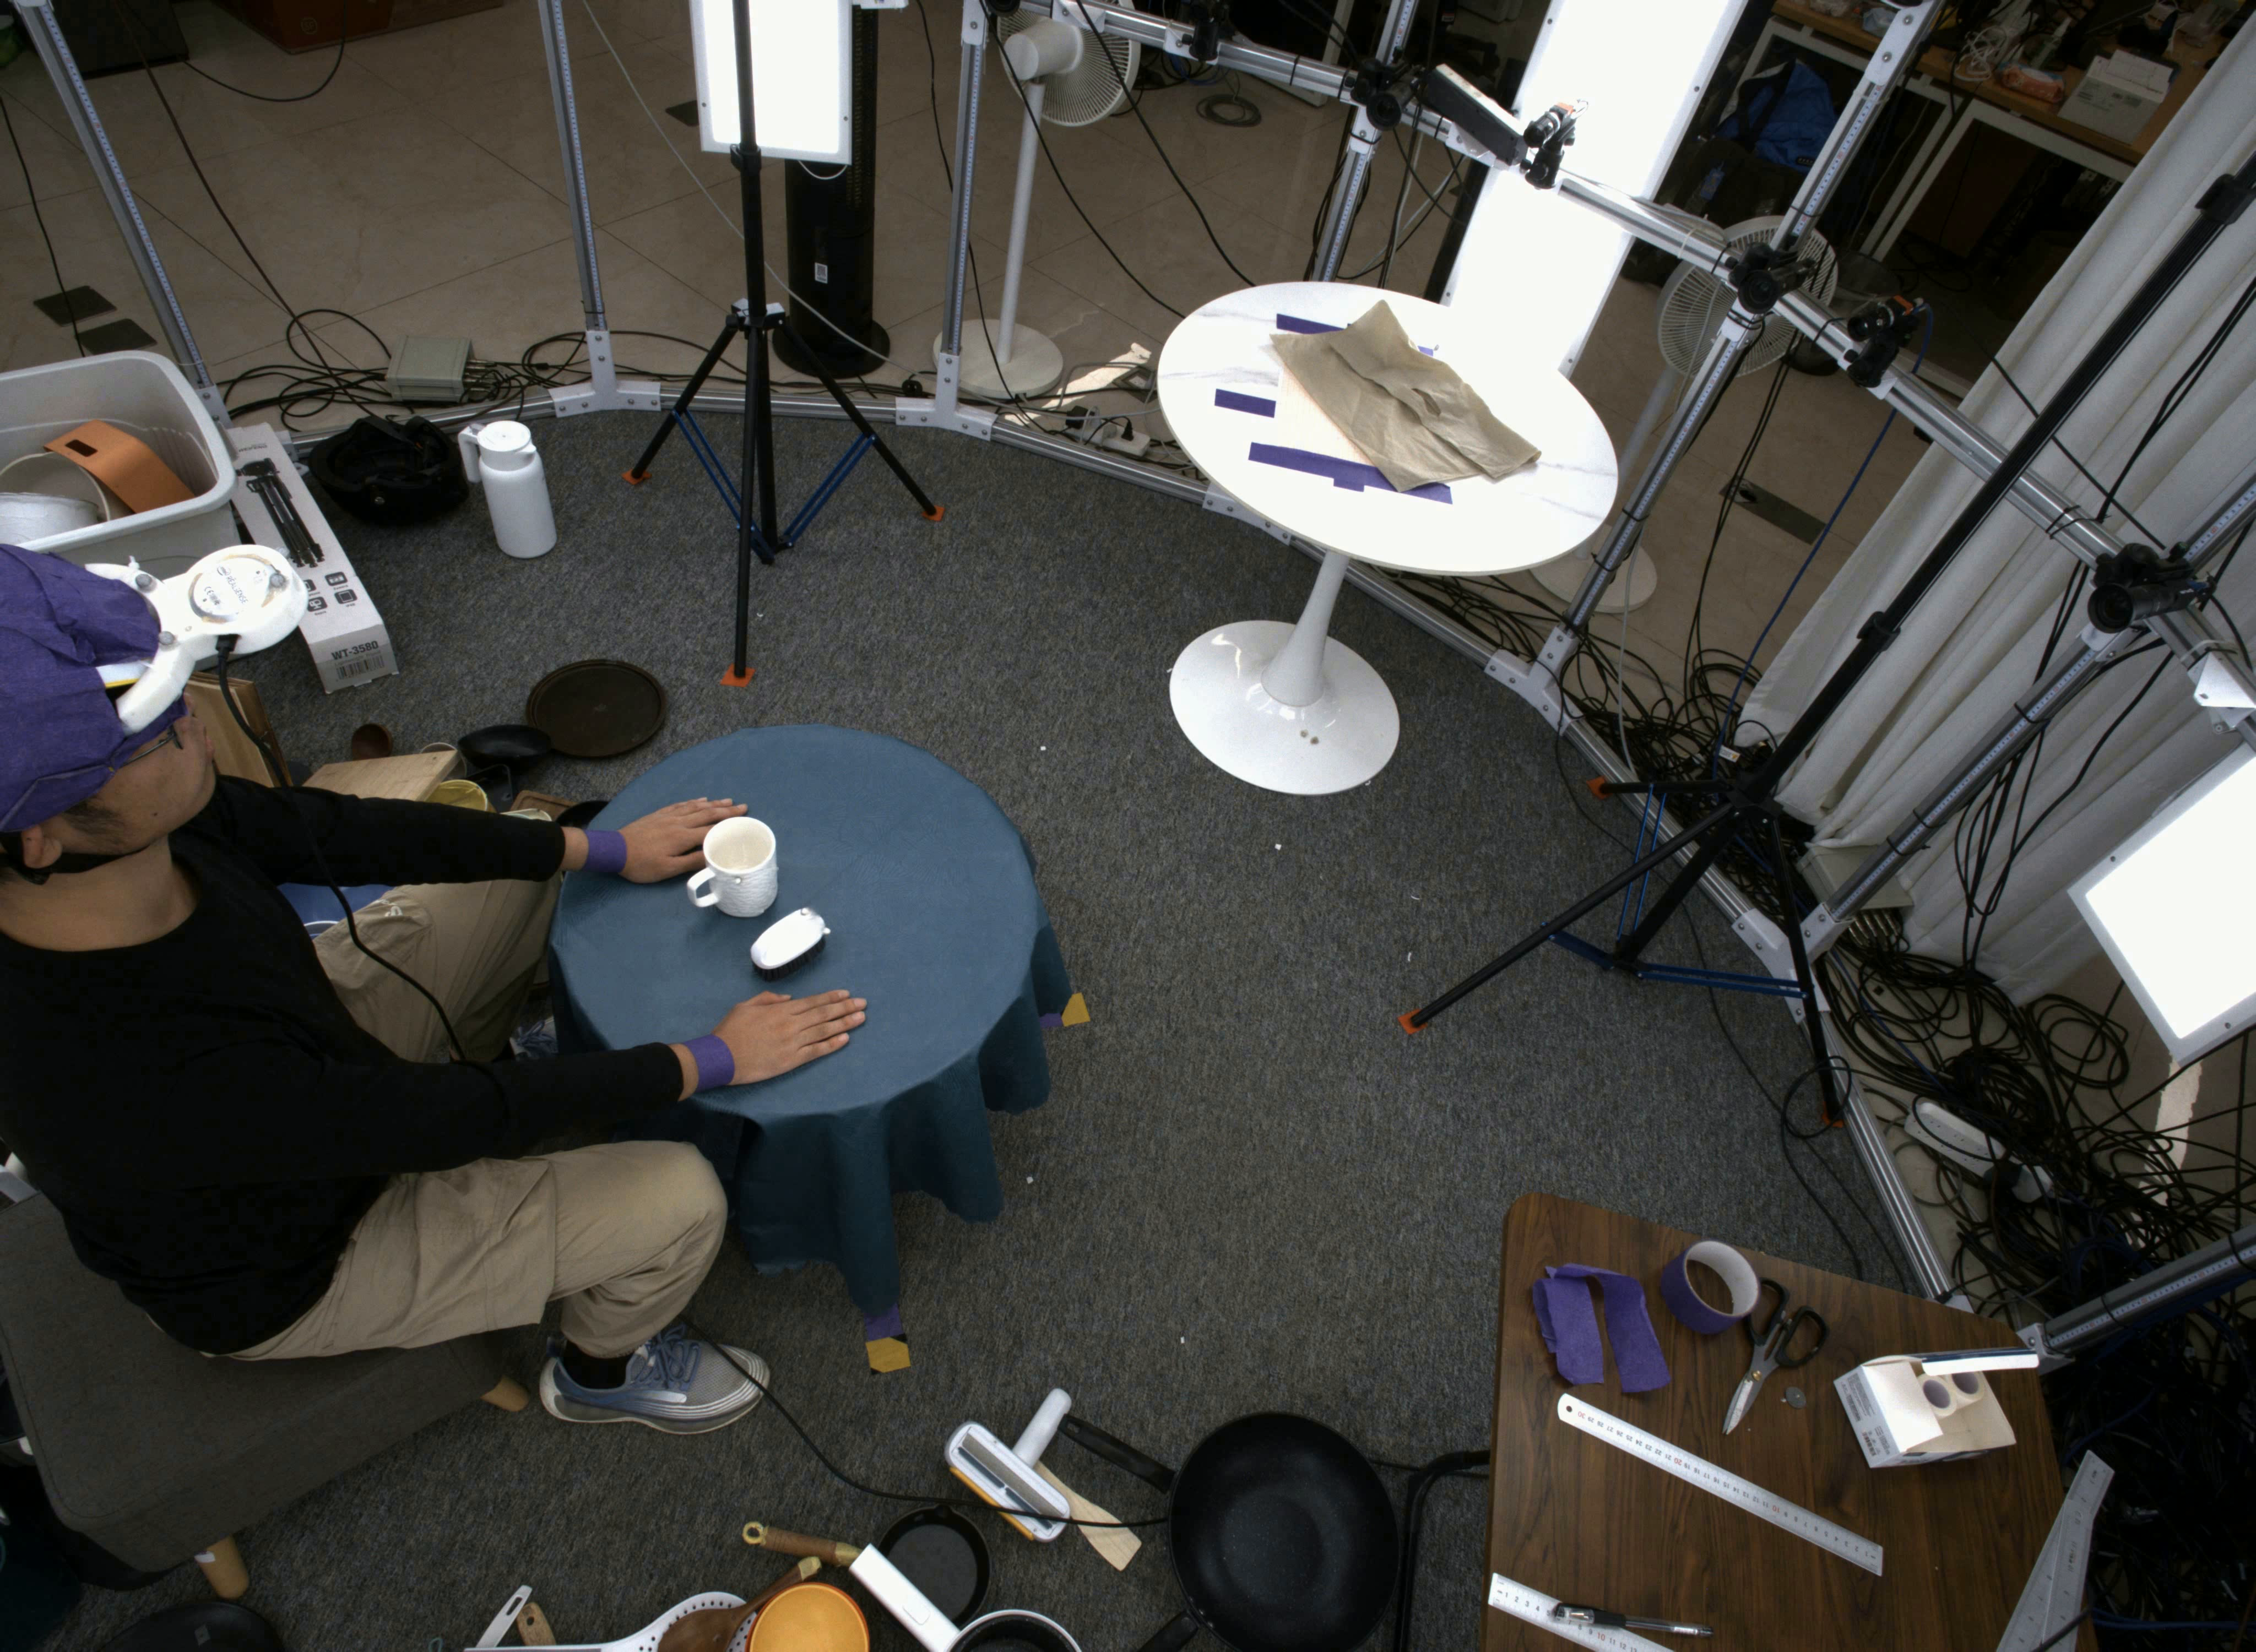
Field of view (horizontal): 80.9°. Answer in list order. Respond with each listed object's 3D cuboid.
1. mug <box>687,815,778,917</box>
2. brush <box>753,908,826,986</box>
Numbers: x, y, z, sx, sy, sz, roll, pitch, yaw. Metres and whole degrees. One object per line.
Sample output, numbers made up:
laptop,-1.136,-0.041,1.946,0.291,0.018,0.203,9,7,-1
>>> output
mug,-0.492,0.058,1.600,0.083,0.104,0.118,40,55,18
brush,-0.414,0.138,1.580,0.049,0.074,0.099,33,49,19
